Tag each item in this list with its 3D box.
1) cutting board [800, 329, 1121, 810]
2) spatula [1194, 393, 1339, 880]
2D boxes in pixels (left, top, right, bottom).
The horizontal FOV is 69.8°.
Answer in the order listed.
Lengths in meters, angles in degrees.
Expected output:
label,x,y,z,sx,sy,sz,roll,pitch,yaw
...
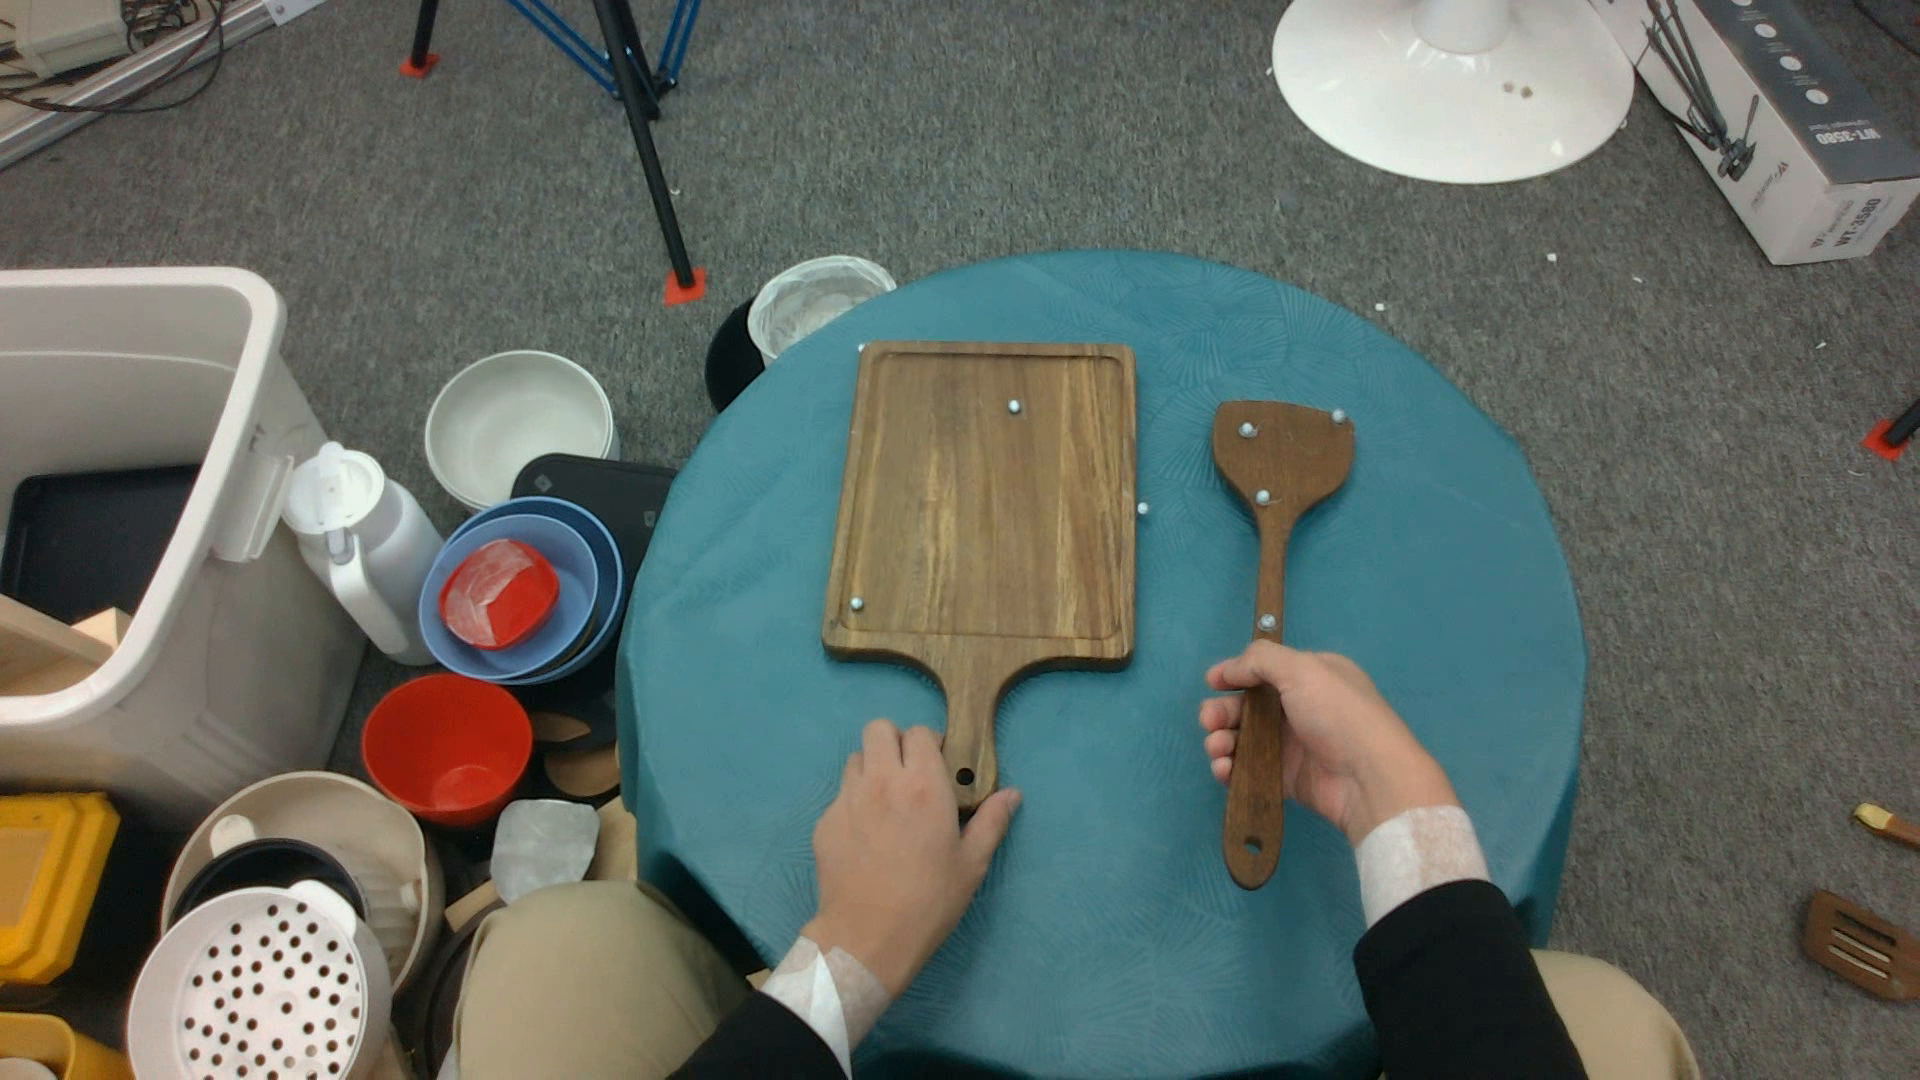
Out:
label,x,y,z,sx,sy,sz,roll,pitch,yaw
cutting board,0.002,0.003,0.886,0.201,0.023,0.353,2,58,4
spatula,0.174,0.033,0.818,0.096,0.016,0.388,9,45,8
